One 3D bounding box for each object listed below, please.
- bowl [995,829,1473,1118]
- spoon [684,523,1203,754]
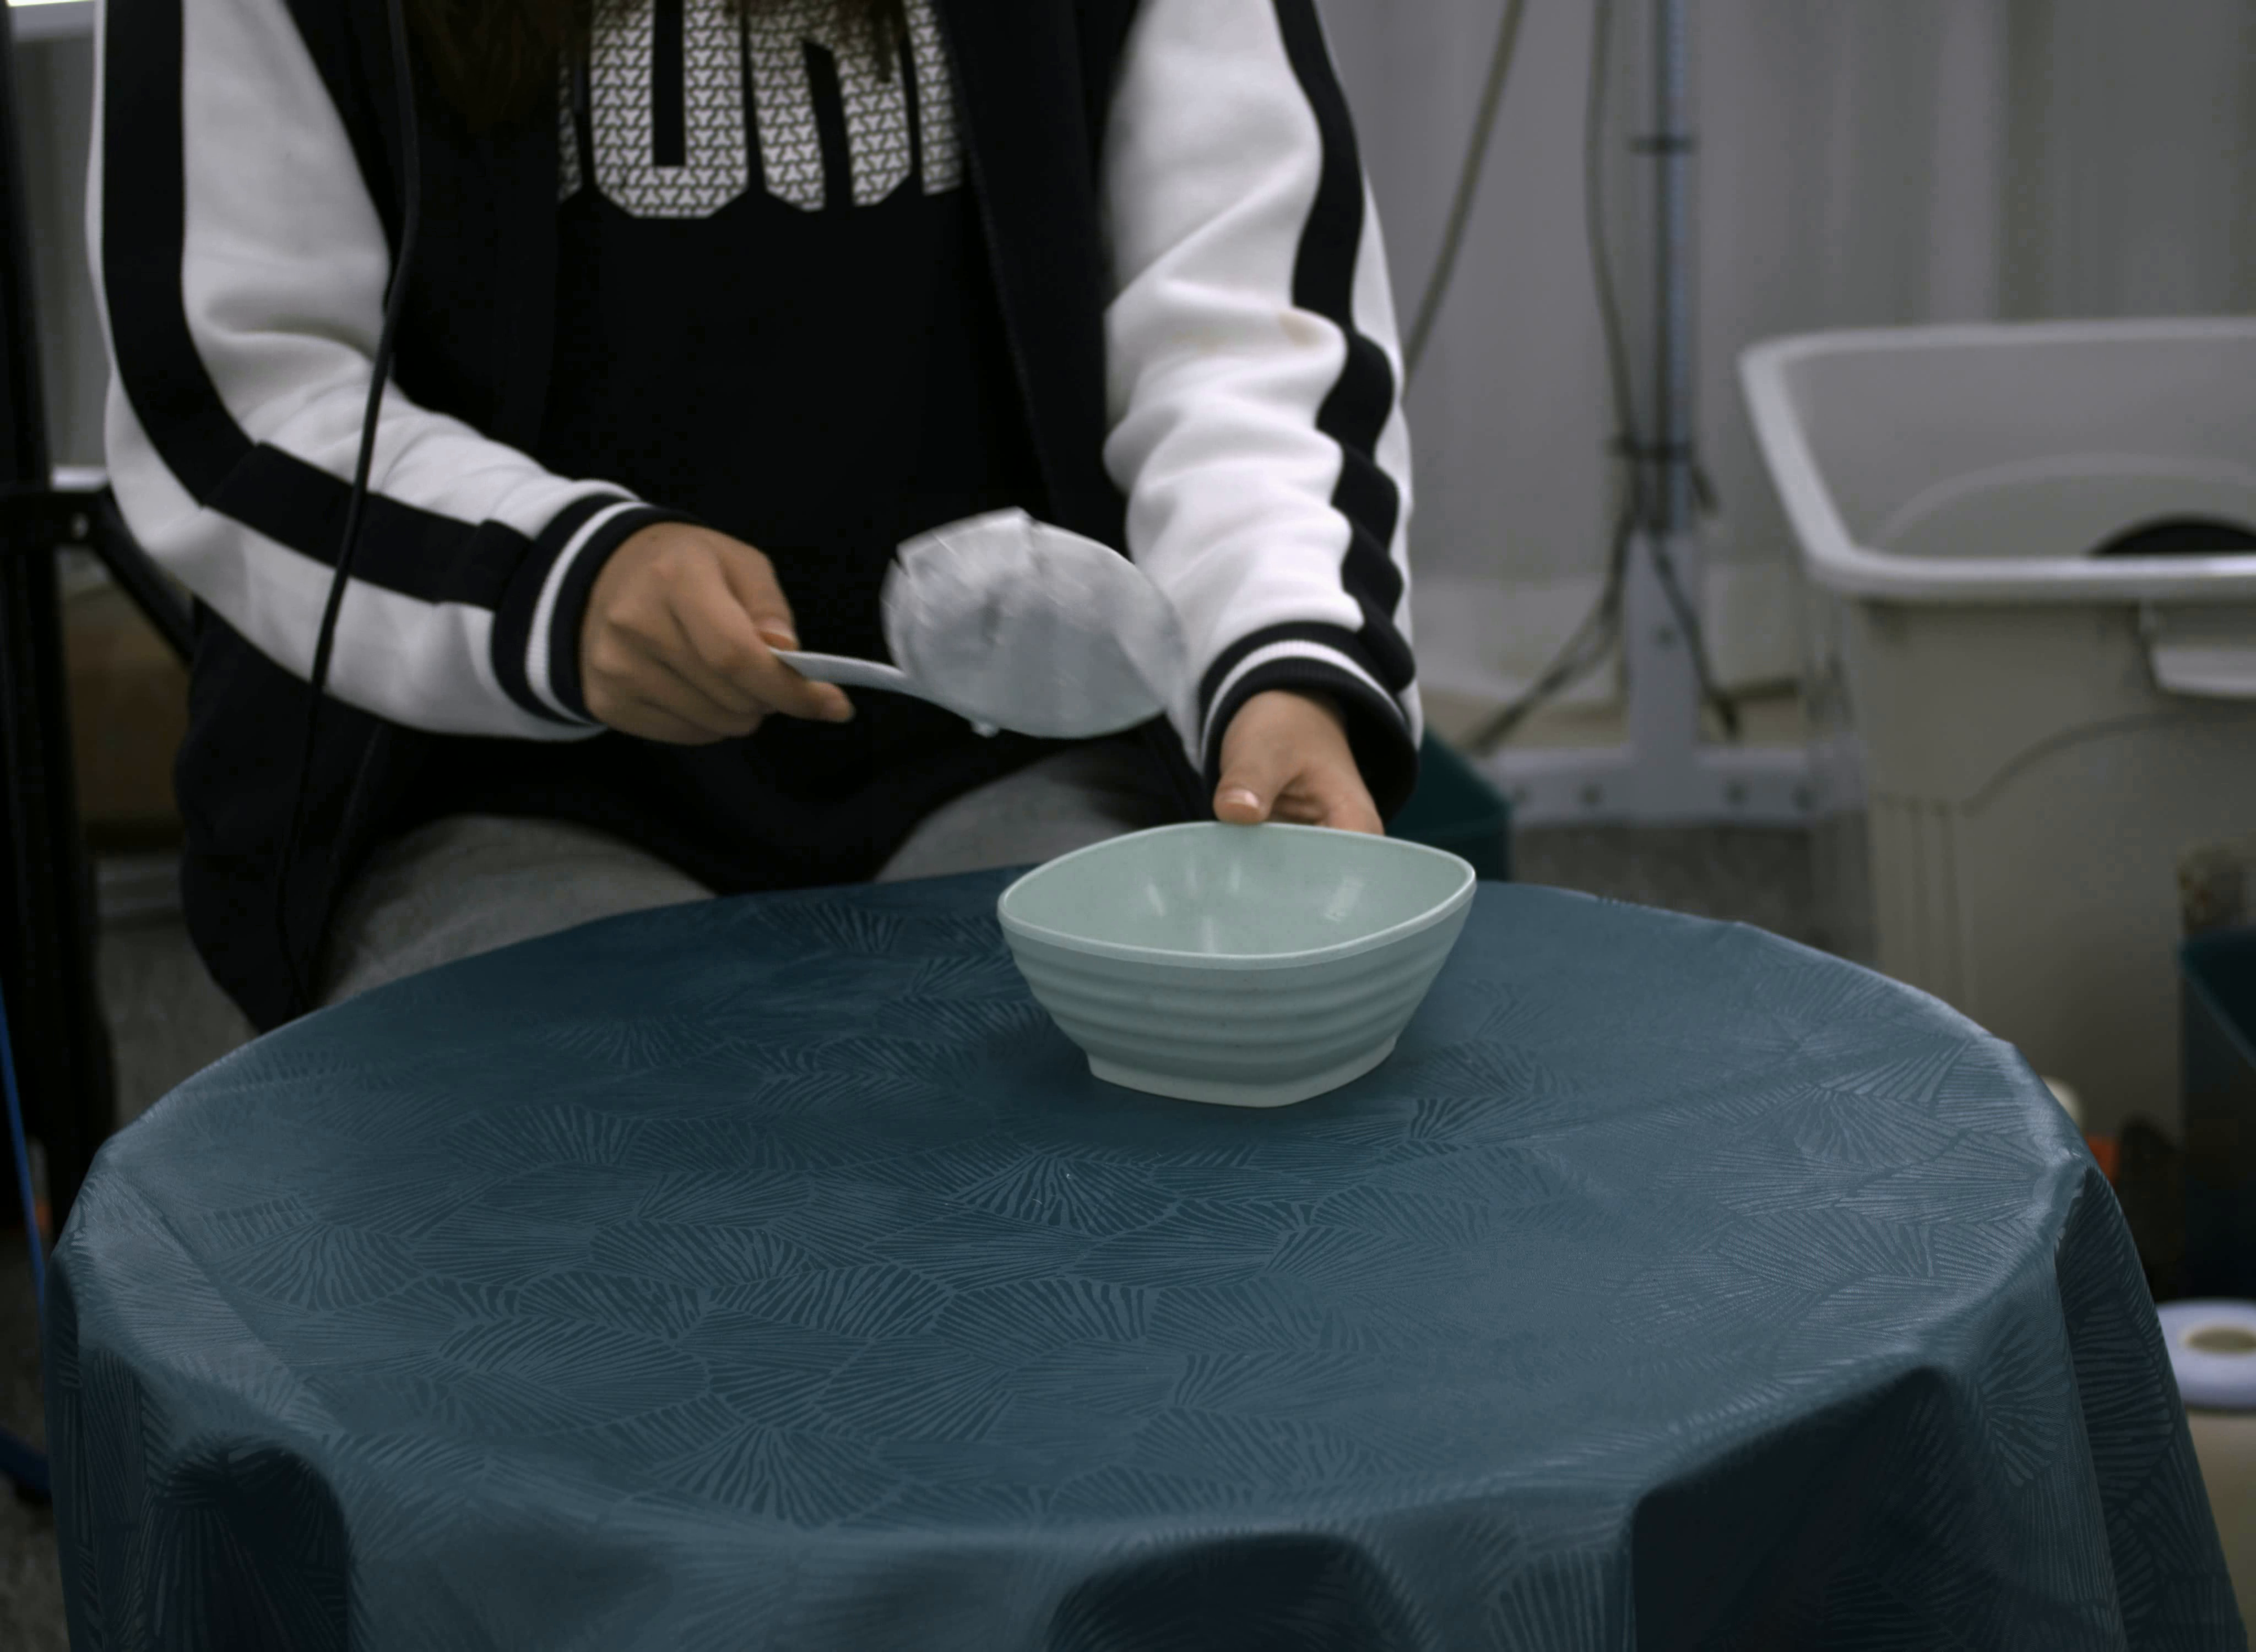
[{"bbox_3d":[0.034,0.049,1.665,0.150,0.058,0.152,-3,15,-1],"label":"bowl"},{"bbox_3d":[-0.066,-0.063,1.703,0.059,0.099,0.282,-54,24,-12],"label":"spoon"}]
